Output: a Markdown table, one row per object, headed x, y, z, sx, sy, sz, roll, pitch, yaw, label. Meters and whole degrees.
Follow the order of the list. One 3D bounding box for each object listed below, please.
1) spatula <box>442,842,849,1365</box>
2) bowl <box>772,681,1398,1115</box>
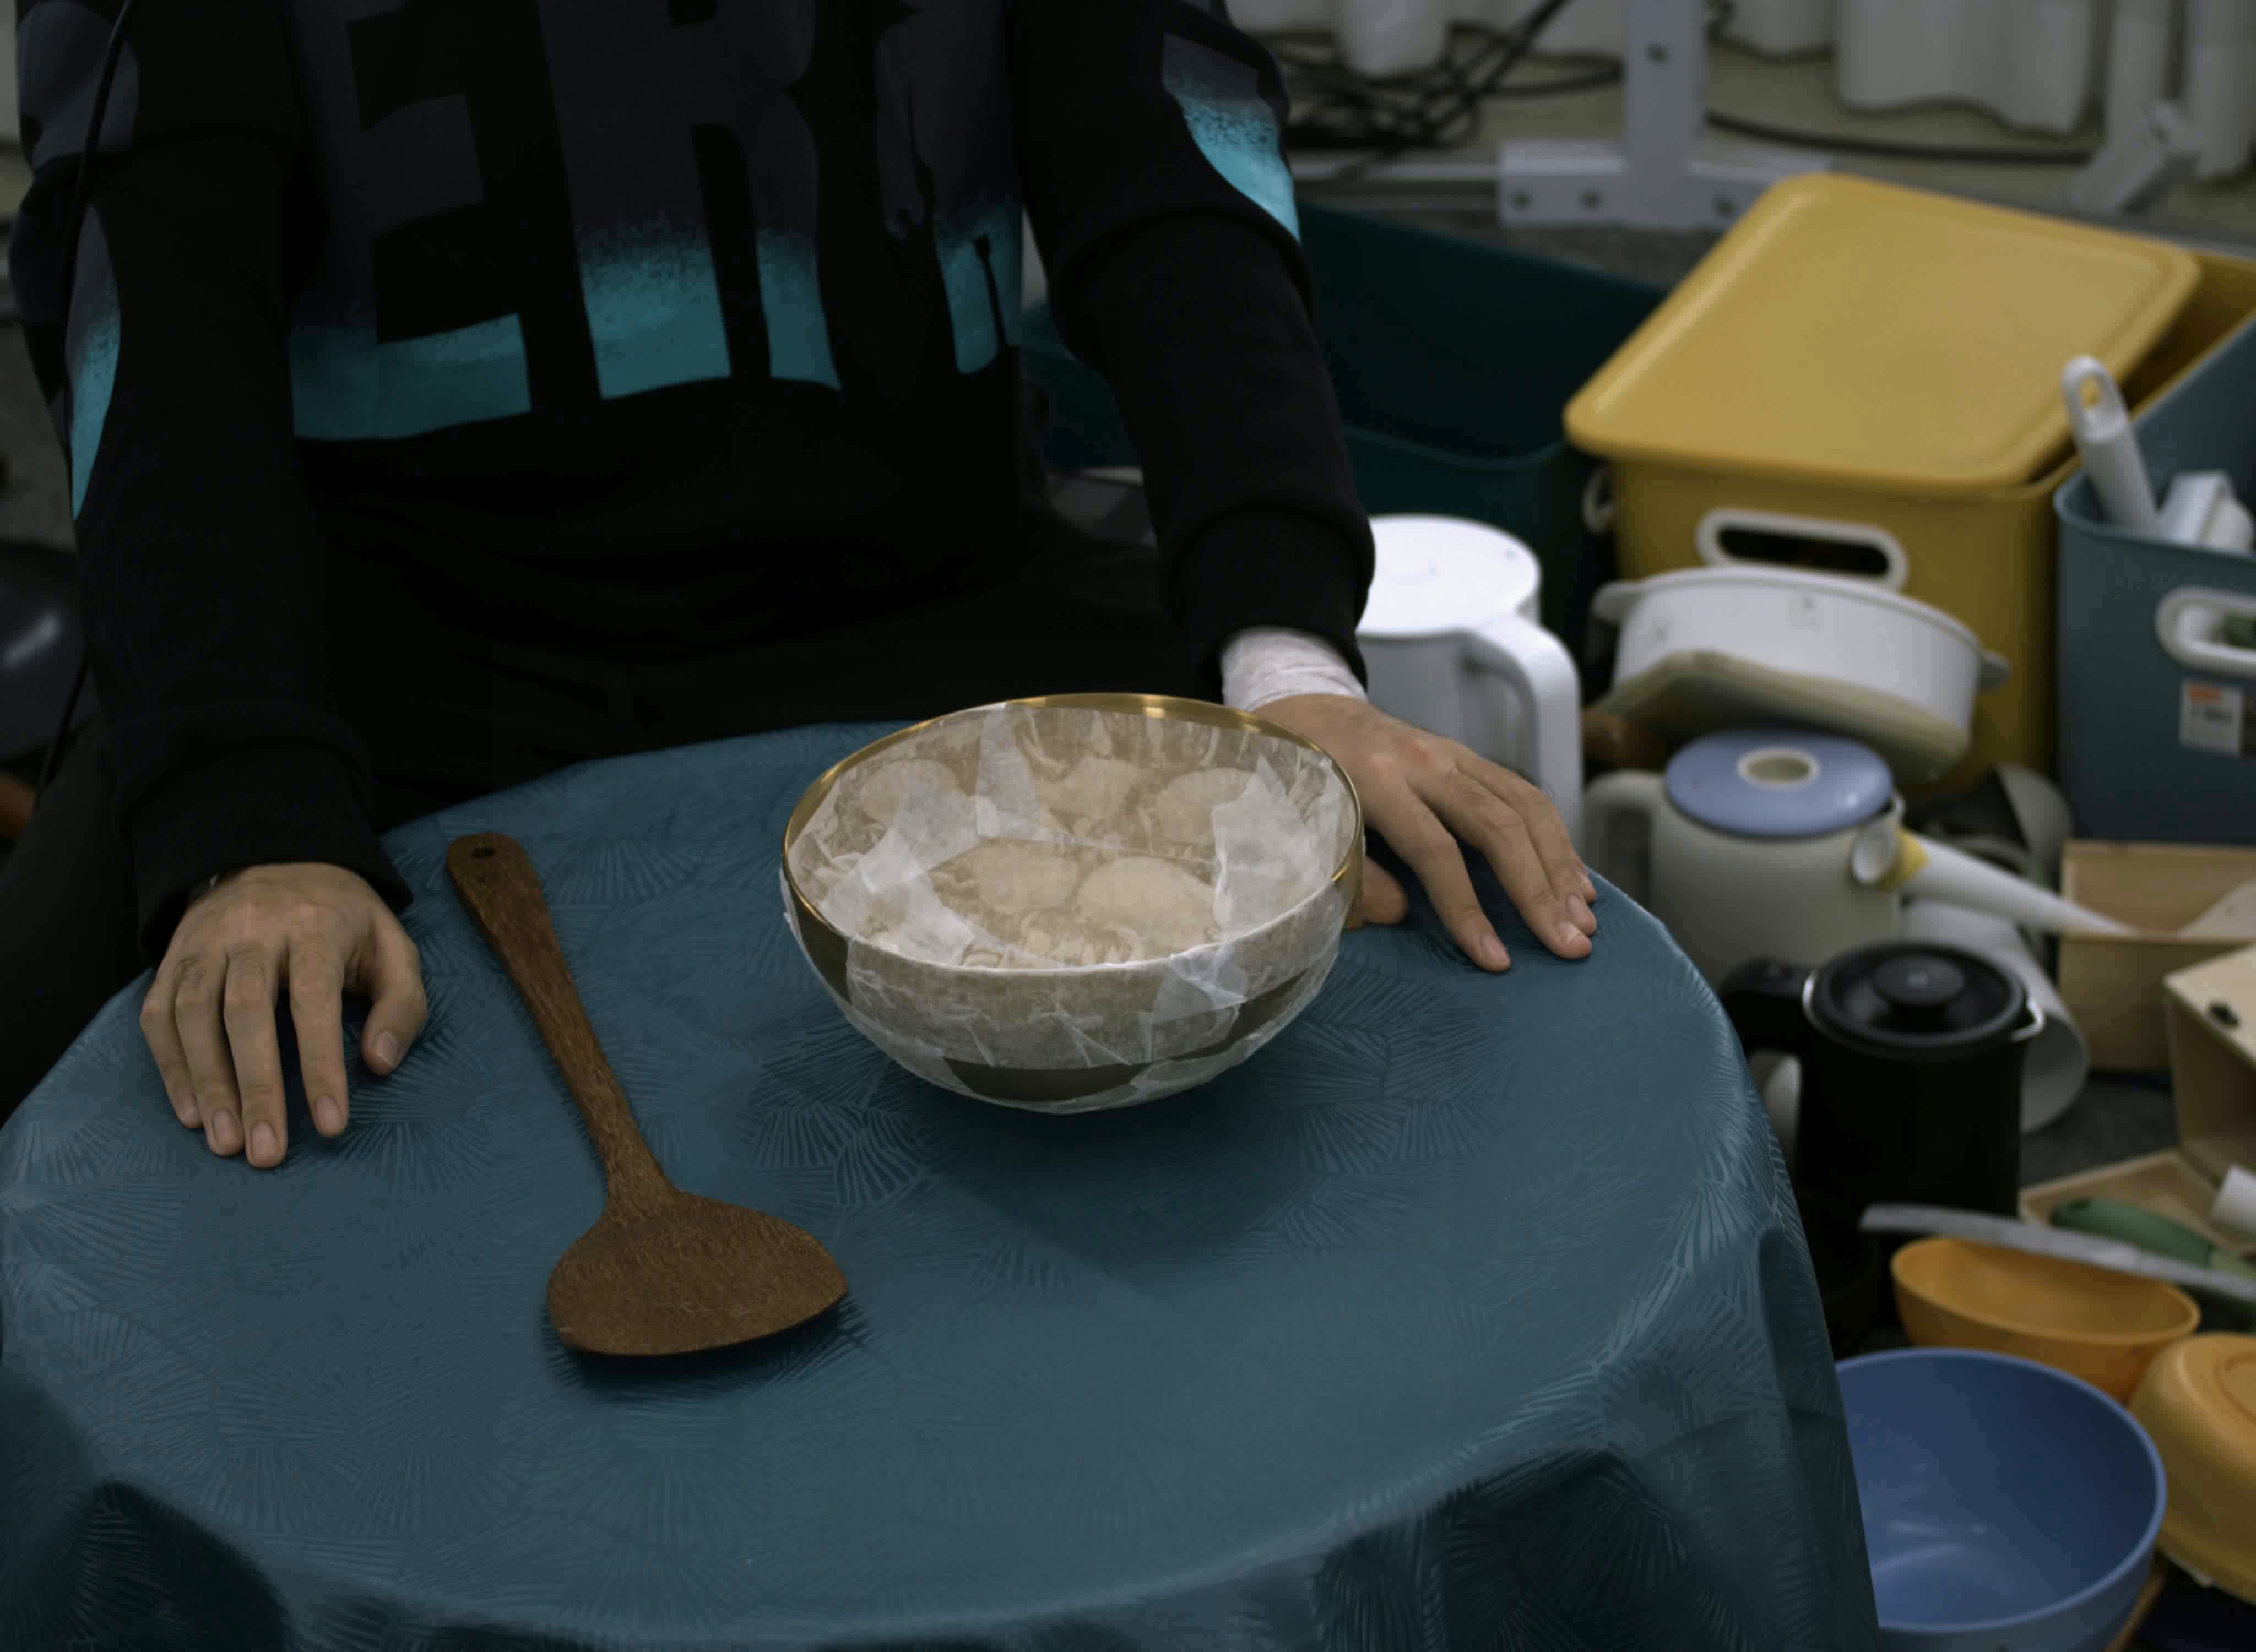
| x | y | z | sx | sy | sz | roll | pitch | yaw | label |
| --- | --- | --- | --- | --- | --- | --- | --- | --- | --- |
| -0.186 | 0.087 | 1.933 | 0.096 | 0.015 | 0.389 | -10 | 28 | -15 | spatula |
| -0.014 | 0.037 | 1.925 | 0.213 | 0.093 | 0.218 | -4 | 27 | 2 | bowl |
